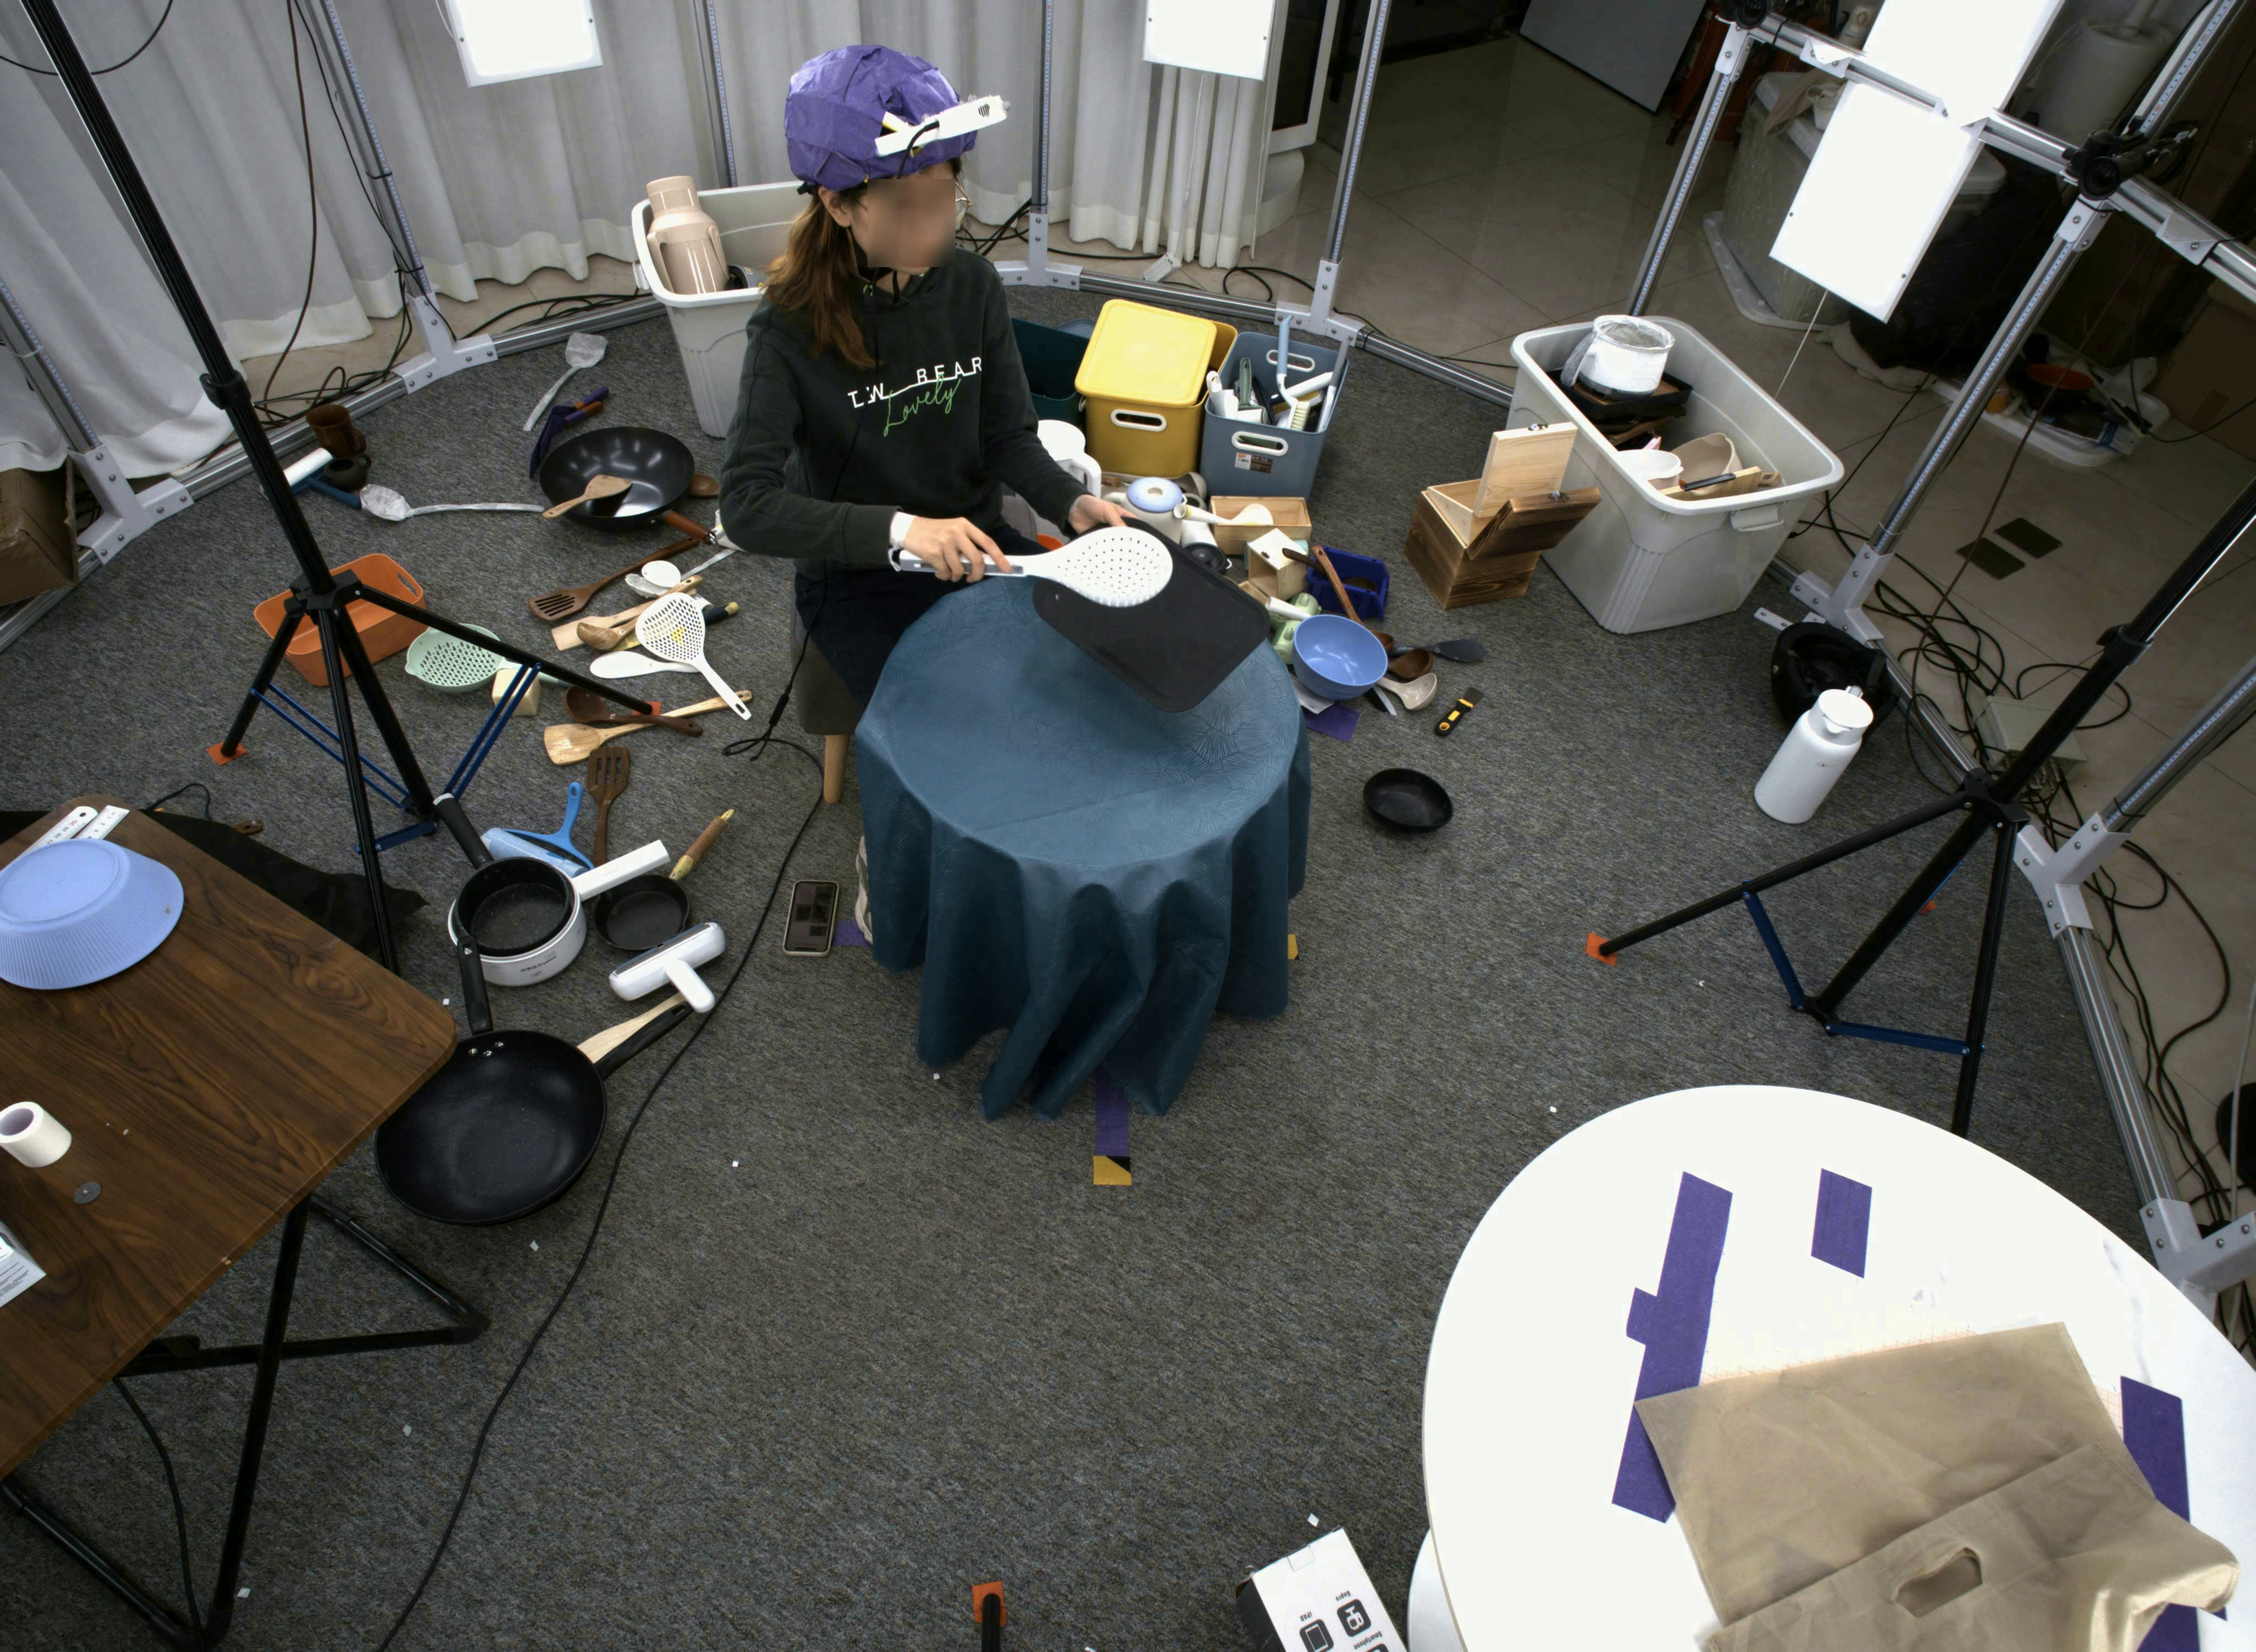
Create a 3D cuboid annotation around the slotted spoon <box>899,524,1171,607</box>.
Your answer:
[{"bbox_3d":[-0.120,-0.335,1.668,0.350,0.133,0.047,5,52,3],"label":"slotted spoon"}]

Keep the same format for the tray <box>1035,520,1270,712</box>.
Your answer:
[{"bbox_3d":[0.024,-0.301,1.778,0.212,0.009,0.330,-43,64,-14],"label":"tray"}]
